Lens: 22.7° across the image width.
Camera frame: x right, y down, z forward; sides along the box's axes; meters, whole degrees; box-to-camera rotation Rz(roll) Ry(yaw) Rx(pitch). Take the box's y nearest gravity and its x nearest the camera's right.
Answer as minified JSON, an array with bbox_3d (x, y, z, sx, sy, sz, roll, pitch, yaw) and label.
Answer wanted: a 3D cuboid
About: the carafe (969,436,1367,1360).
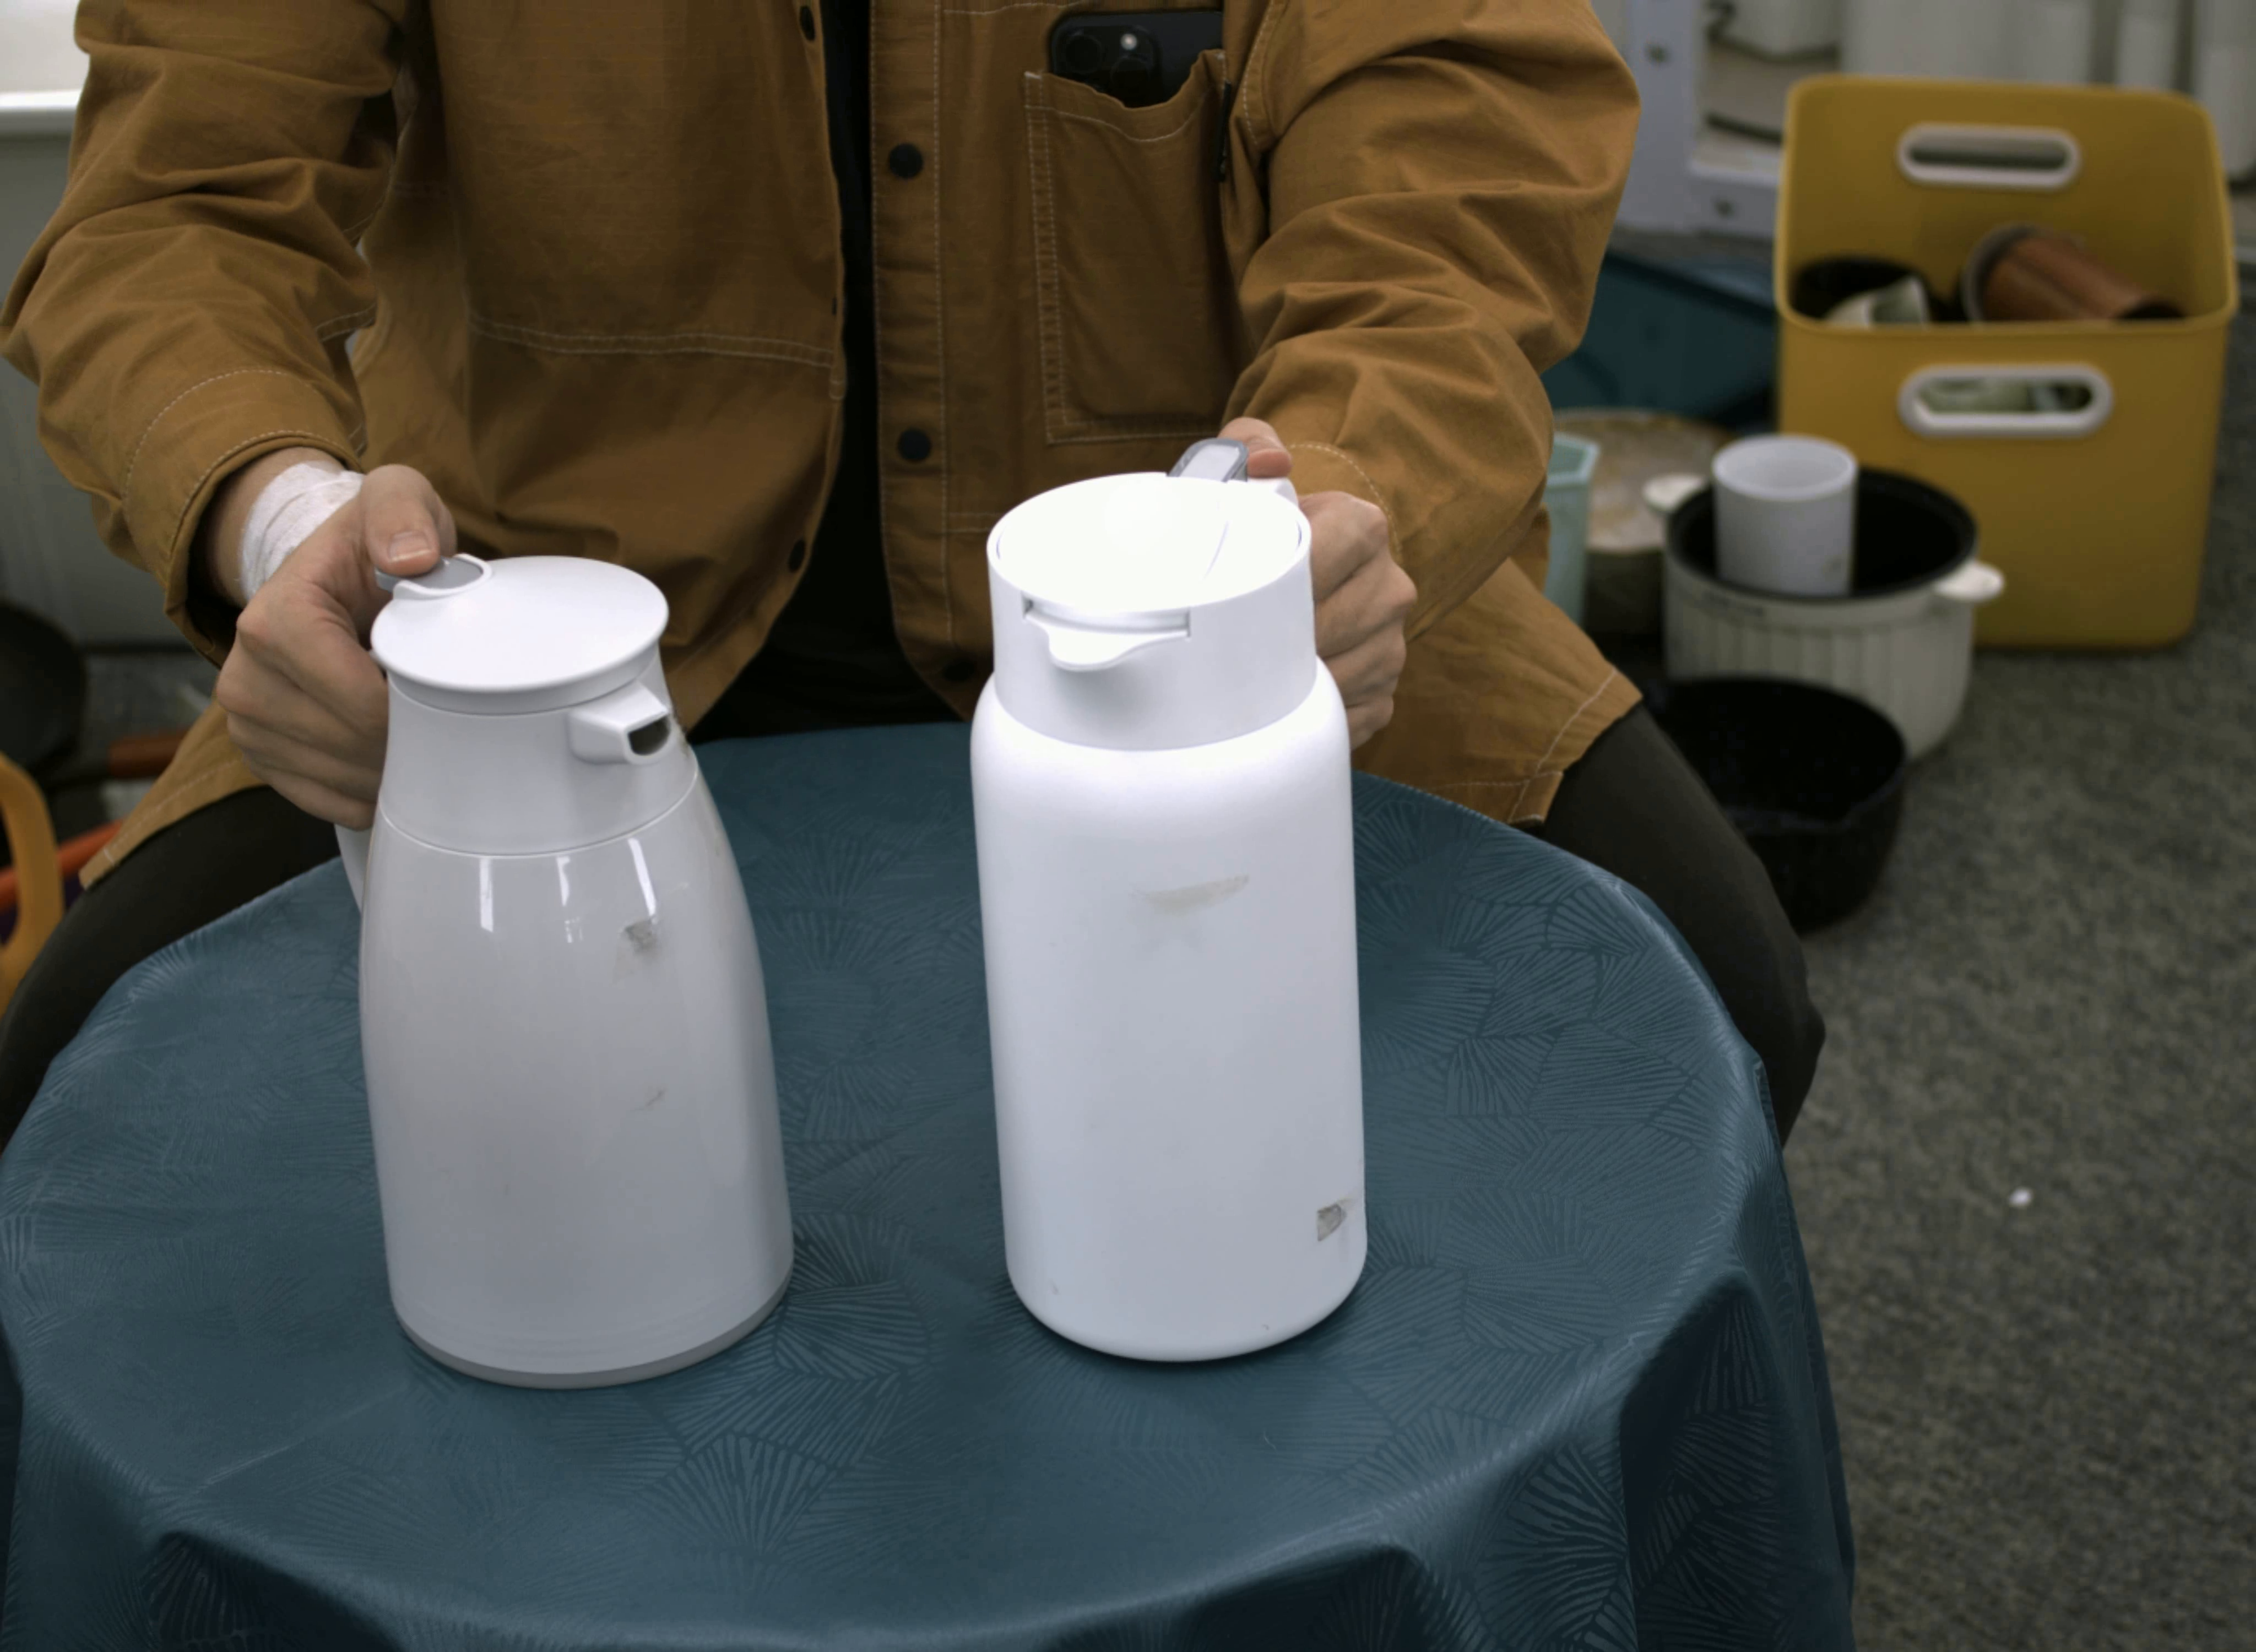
[{"bbox_3d":[0.017,0.019,1.768,0.123,0.266,0.176,4,27,18],"label":"carafe"}]

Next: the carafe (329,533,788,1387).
[{"bbox_3d":[-0.194,0.032,1.783,0.134,0.246,0.167,-24,32,-37],"label":"carafe"}]
